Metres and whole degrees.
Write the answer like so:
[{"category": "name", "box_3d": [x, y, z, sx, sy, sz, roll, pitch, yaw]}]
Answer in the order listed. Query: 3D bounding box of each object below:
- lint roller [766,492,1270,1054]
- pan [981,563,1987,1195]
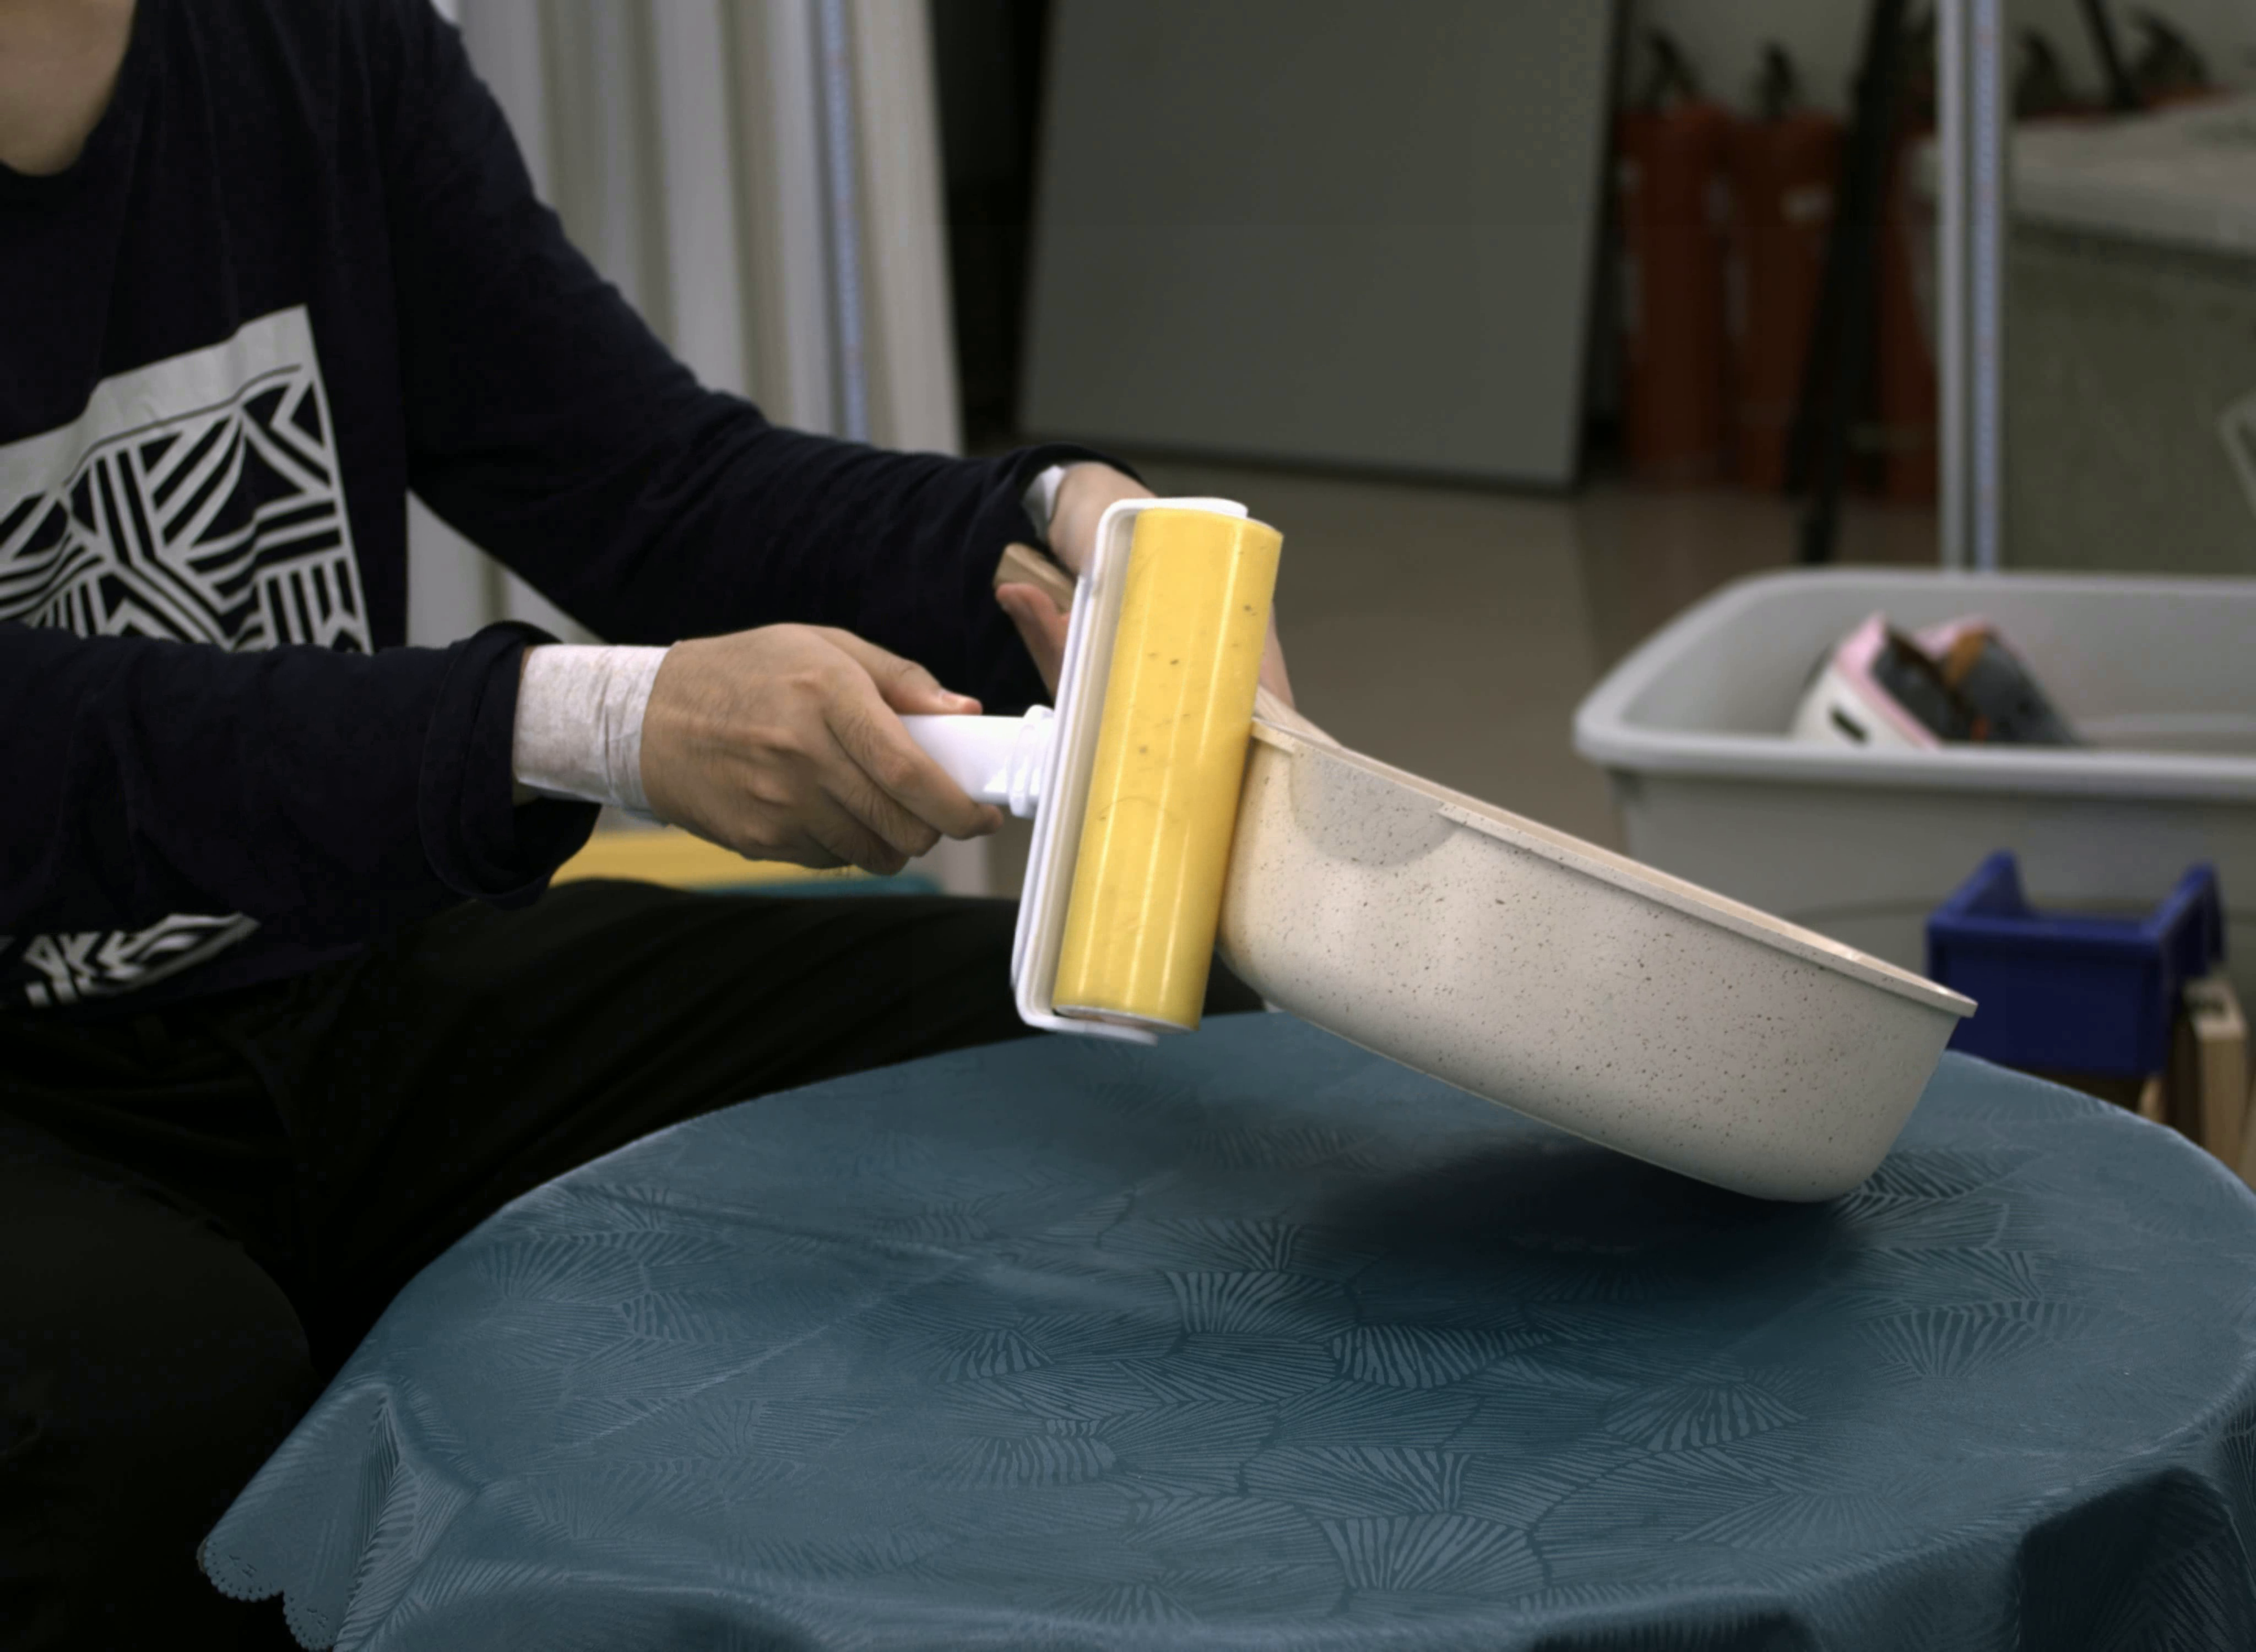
[{"category": "lint roller", "box_3d": [-0.049, -0.020, 1.726, 0.193, 0.176, 0.050, 3, -11, 34]}, {"category": "pan", "box_3d": [0.084, 0.015, 1.775, 0.258, 0.103, 0.439, 16, 5, -44]}]
